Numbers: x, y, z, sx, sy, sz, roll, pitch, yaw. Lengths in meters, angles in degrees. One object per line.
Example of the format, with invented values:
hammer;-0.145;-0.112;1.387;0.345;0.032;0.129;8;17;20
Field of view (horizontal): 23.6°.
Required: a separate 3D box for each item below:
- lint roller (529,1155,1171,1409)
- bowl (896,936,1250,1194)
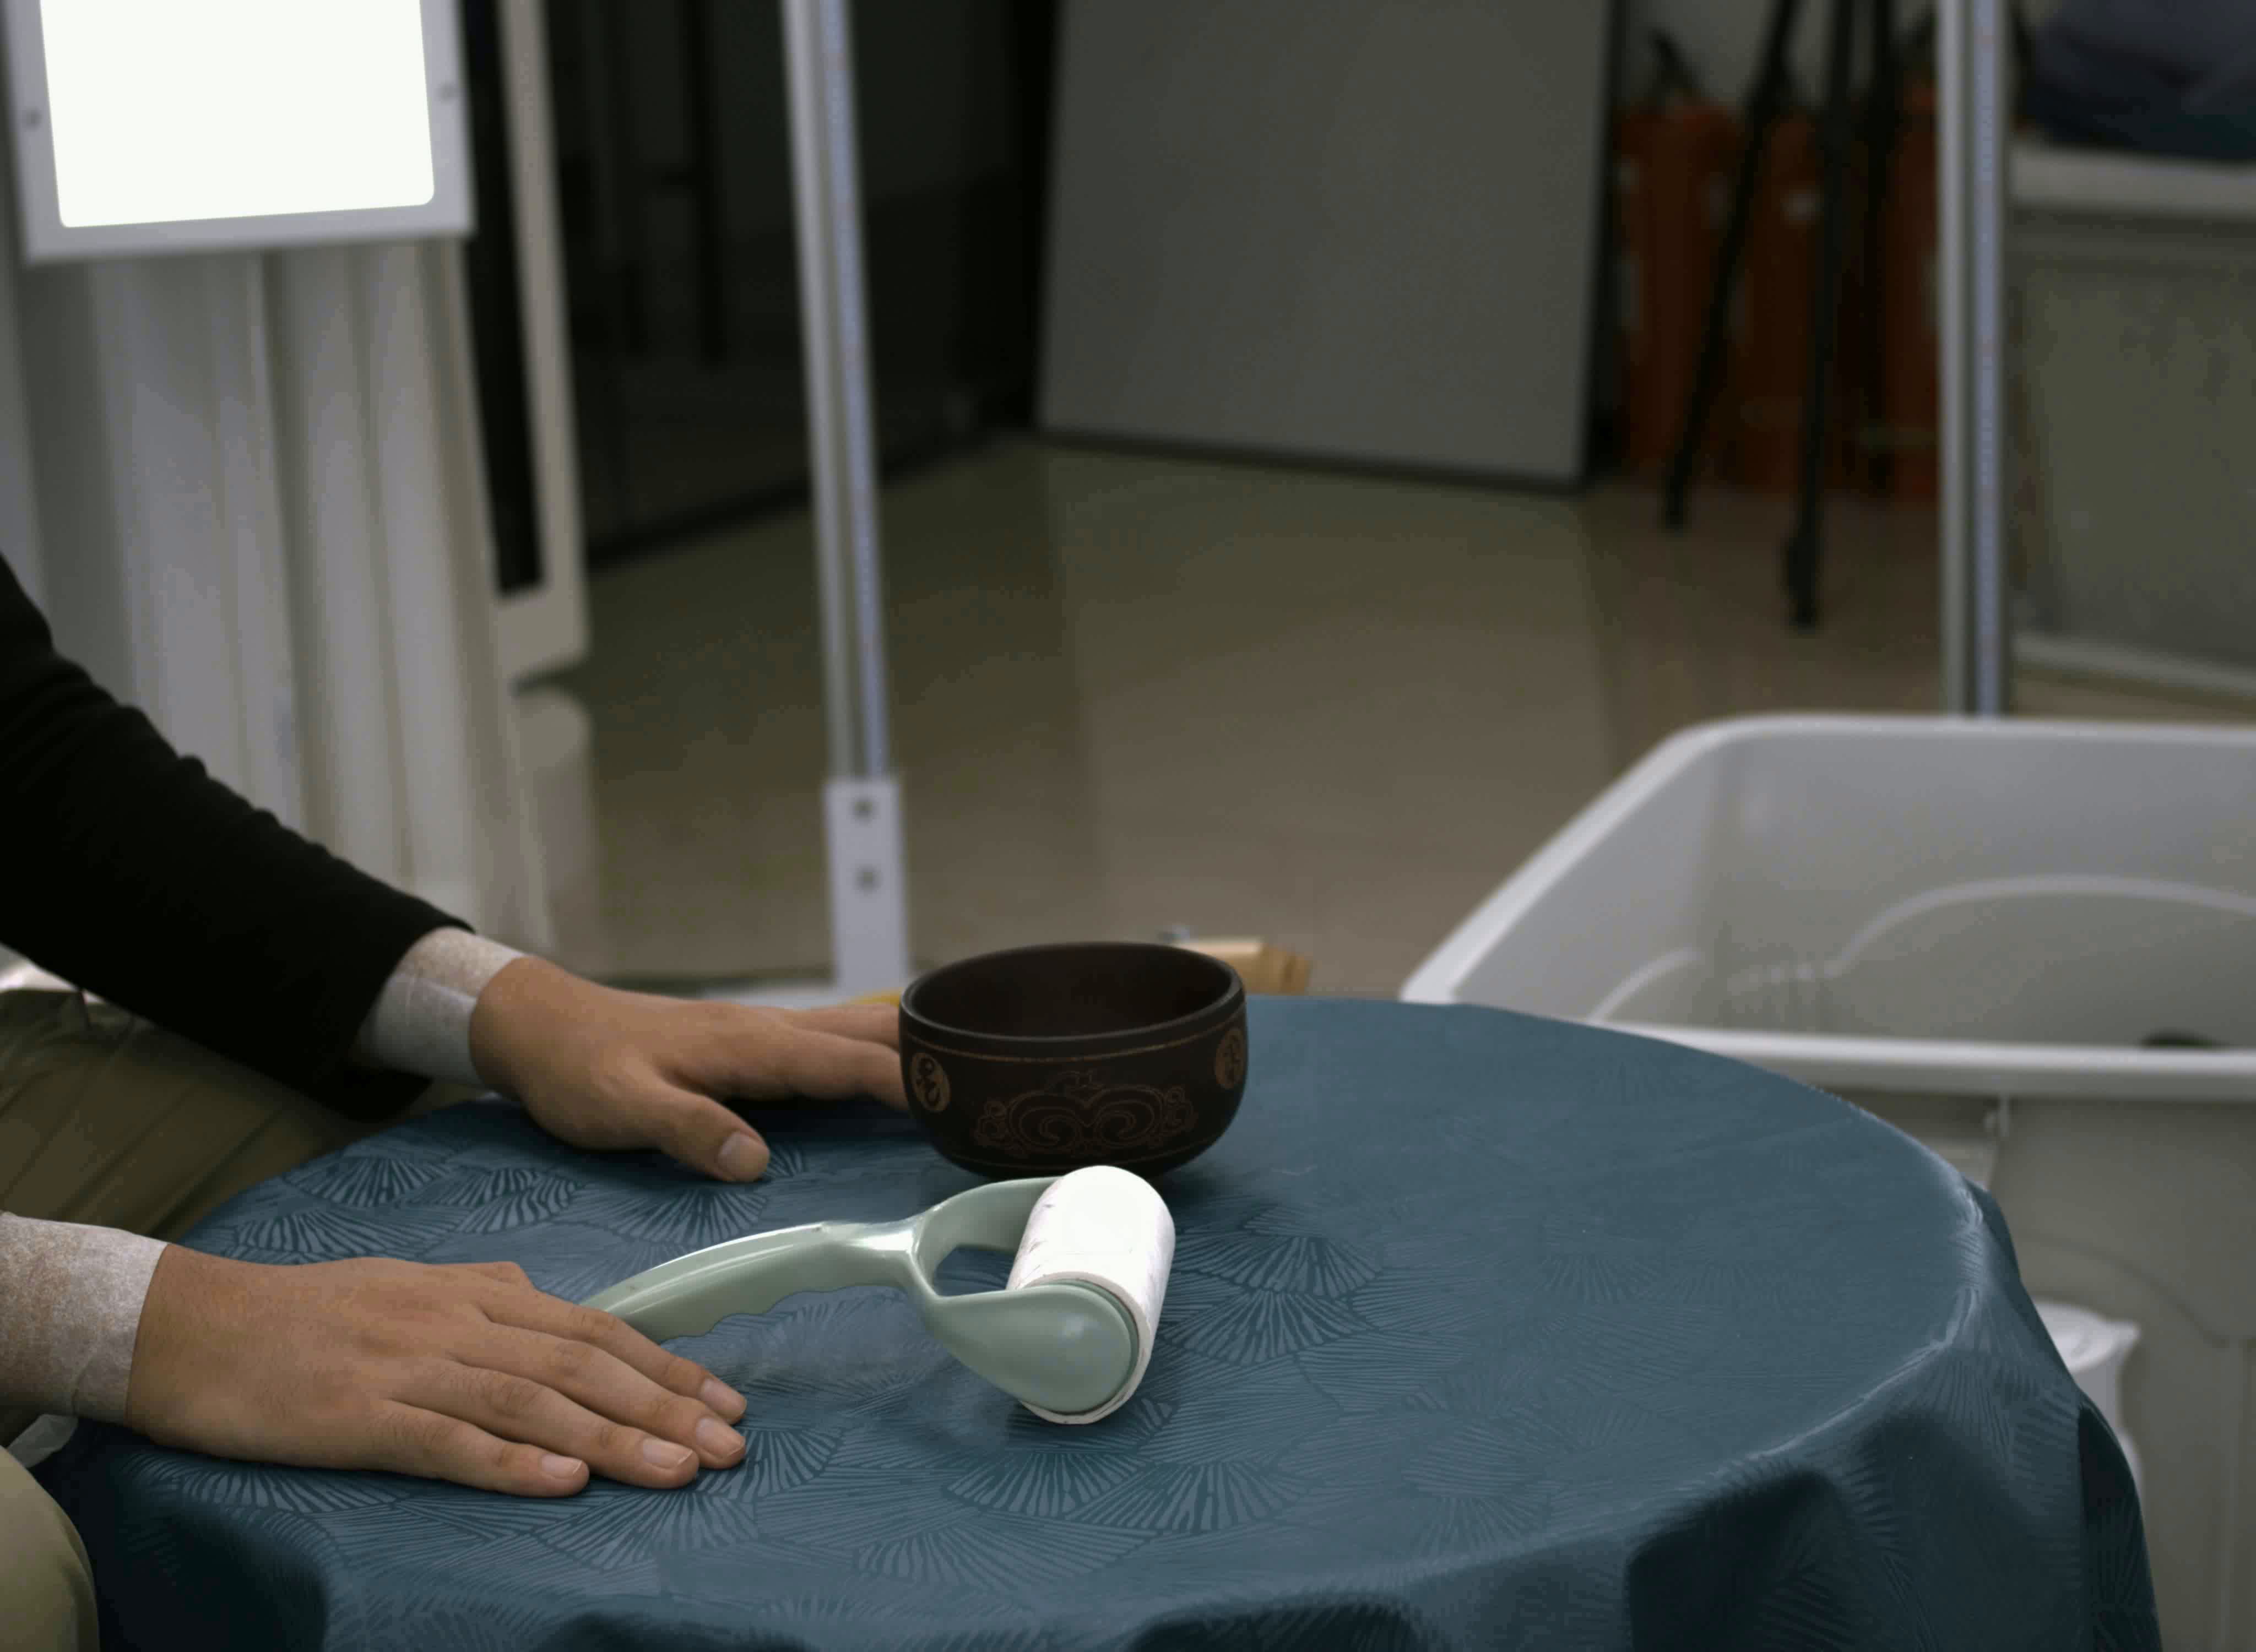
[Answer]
lint roller;-0.084;0.141;1.619;0.196;0.049;0.116;-4;14;7
bowl;-0.017;0.085;1.770;0.116;0.070;0.118;-5;14;0
